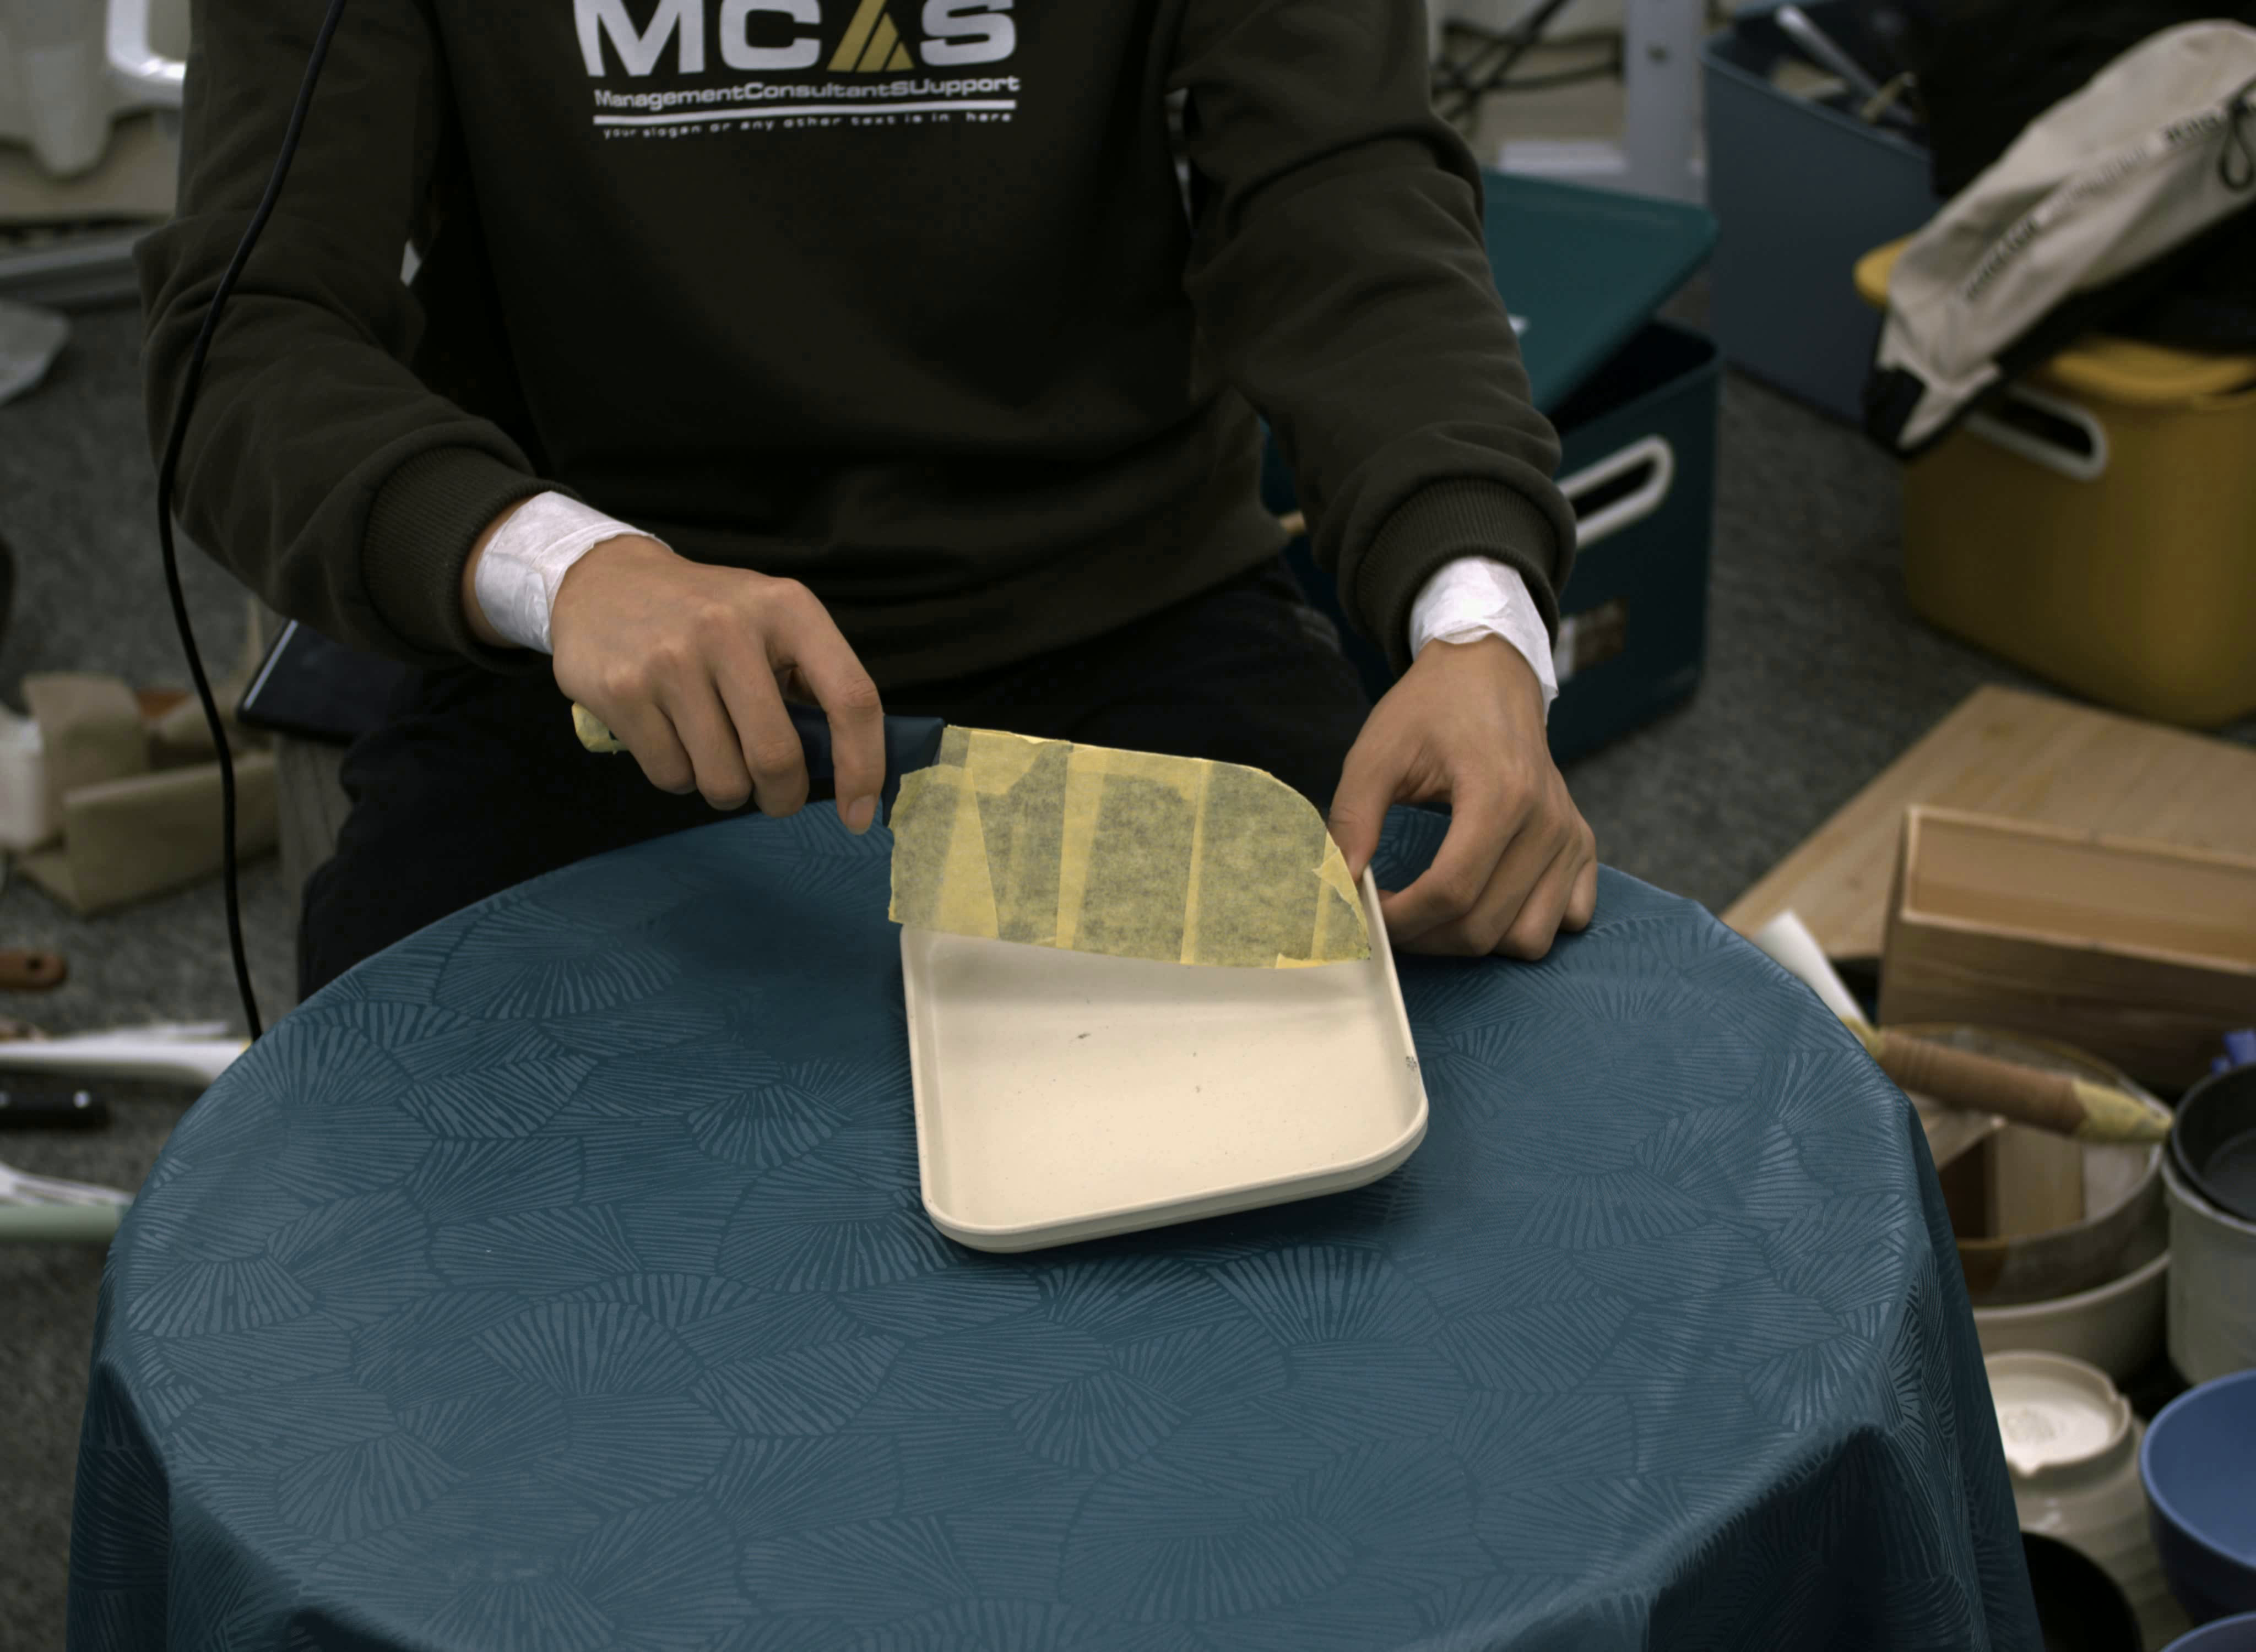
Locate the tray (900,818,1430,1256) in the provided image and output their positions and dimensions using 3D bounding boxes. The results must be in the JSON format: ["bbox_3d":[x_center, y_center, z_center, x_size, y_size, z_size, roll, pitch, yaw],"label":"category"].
[{"bbox_3d":[0.010,0.071,1.920,0.170,0.017,0.243,-11,28,1],"label":"tray"}]

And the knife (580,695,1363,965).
[{"bbox_3d":[-0.056,0.000,1.947,0.288,0.081,0.027,11,6,14],"label":"knife"}]
